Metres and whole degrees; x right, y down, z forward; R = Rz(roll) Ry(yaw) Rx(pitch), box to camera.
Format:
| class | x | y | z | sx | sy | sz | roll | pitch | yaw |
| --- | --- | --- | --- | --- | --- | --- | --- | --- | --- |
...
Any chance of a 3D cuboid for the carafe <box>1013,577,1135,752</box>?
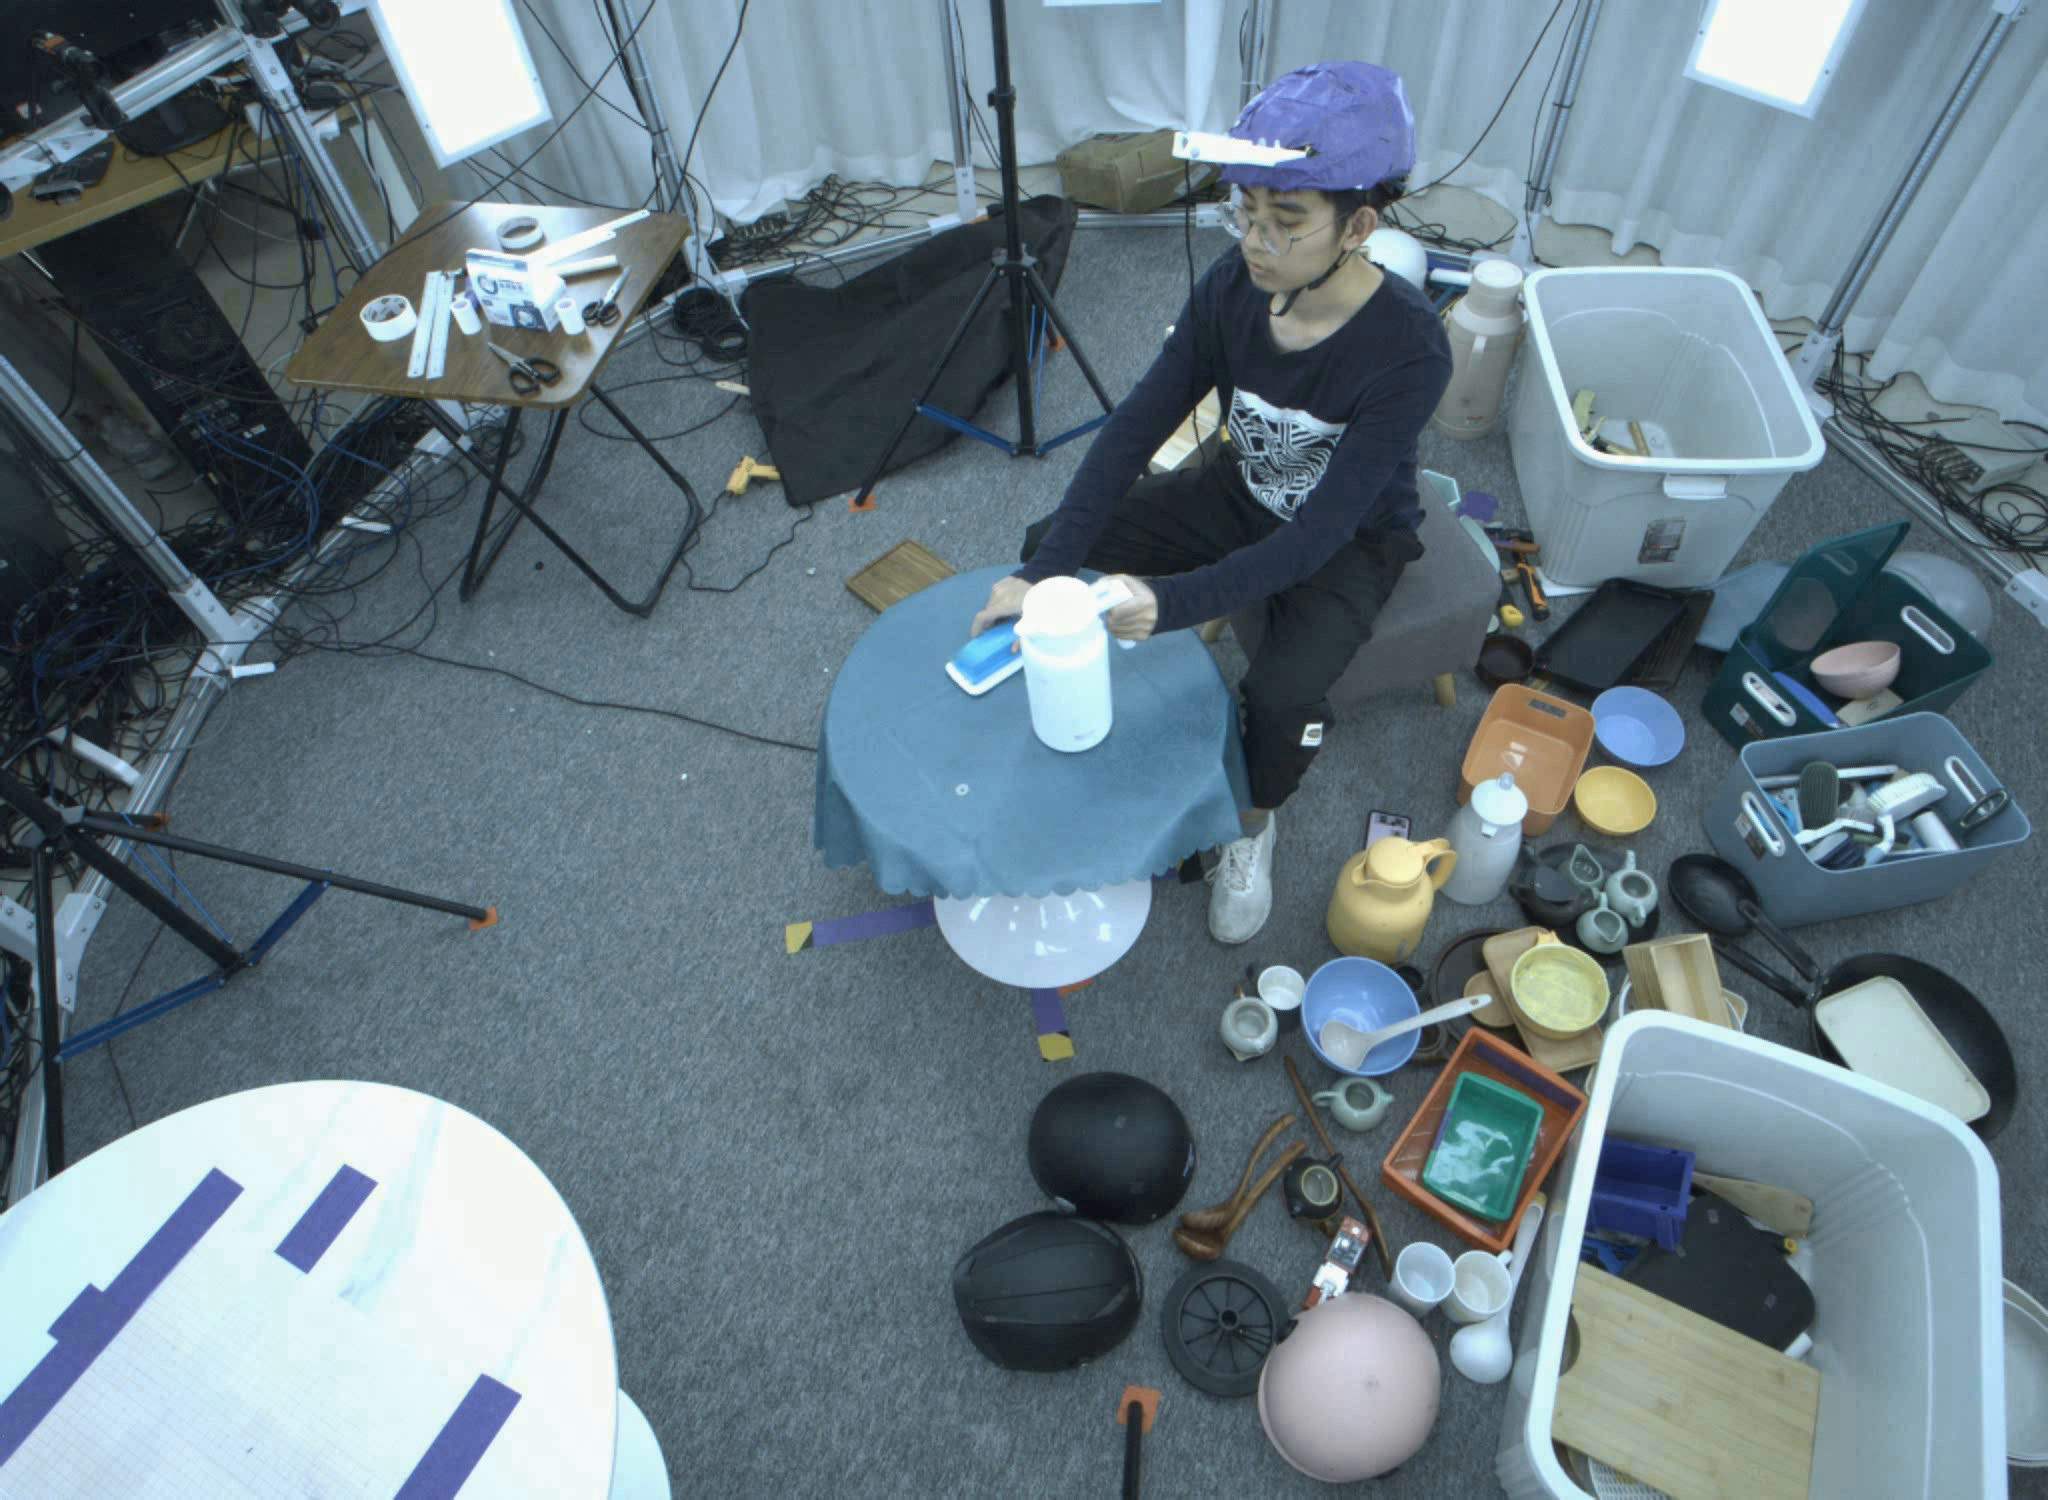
| class | x | y | z | sx | sy | sz | roll | pitch | yaw |
| --- | --- | --- | --- | --- | --- | --- | --- | --- | --- |
| carafe | 0.073 | -0.123 | 1.696 | 0.174 | 0.272 | 0.121 | -28 | 57 | -13 |

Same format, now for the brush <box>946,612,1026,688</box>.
| class | x | y | z | sx | sy | sz | roll | pitch | yaw |
| --- | --- | --- | --- | --- | --- | --- | --- | --- | --- |
| brush | -0.044 | -0.159 | 1.856 | 0.145 | 0.056 | 0.082 | -35 | 64 | -17 |
